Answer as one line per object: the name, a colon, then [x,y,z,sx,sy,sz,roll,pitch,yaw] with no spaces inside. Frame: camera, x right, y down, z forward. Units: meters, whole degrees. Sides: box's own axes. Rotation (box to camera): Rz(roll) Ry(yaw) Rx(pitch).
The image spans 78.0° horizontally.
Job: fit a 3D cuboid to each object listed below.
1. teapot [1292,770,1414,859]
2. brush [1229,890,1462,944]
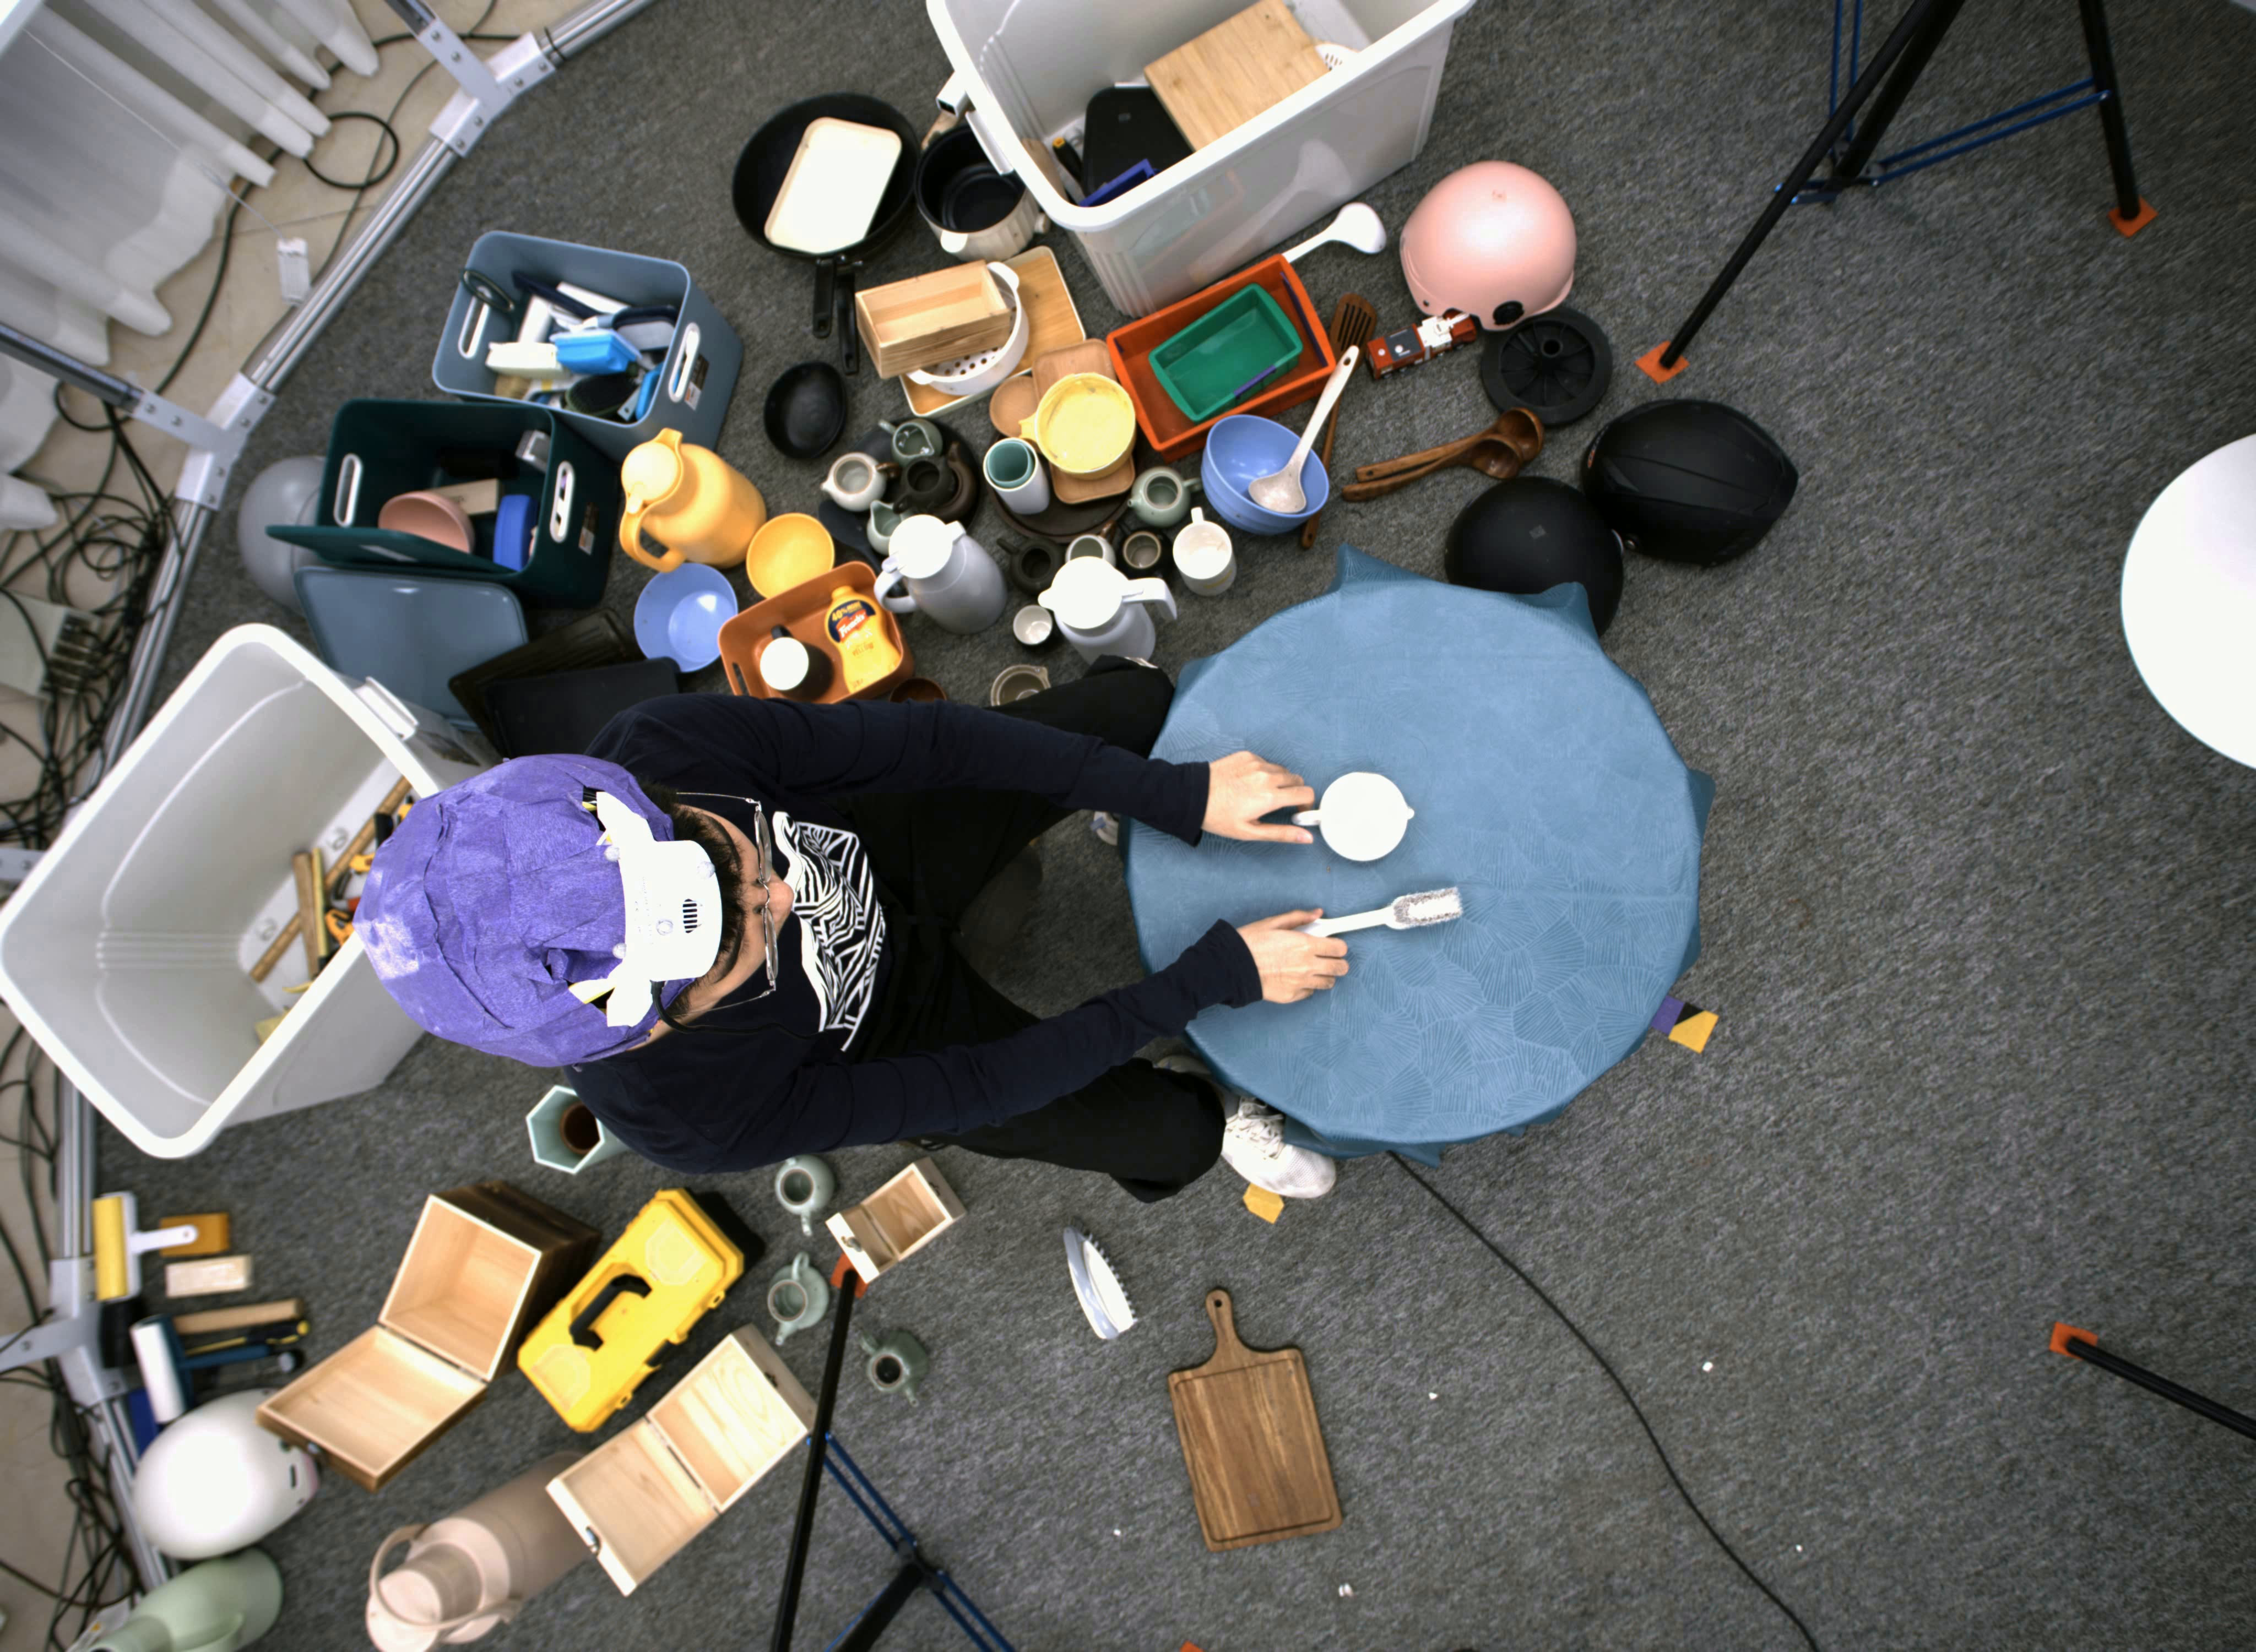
teapot: [0.235,-0.012,1.443,0.128,0.056,0.093,-5,90,12]
brush: [0.224,0.097,1.442,0.245,0.050,0.034,-8,90,10]
